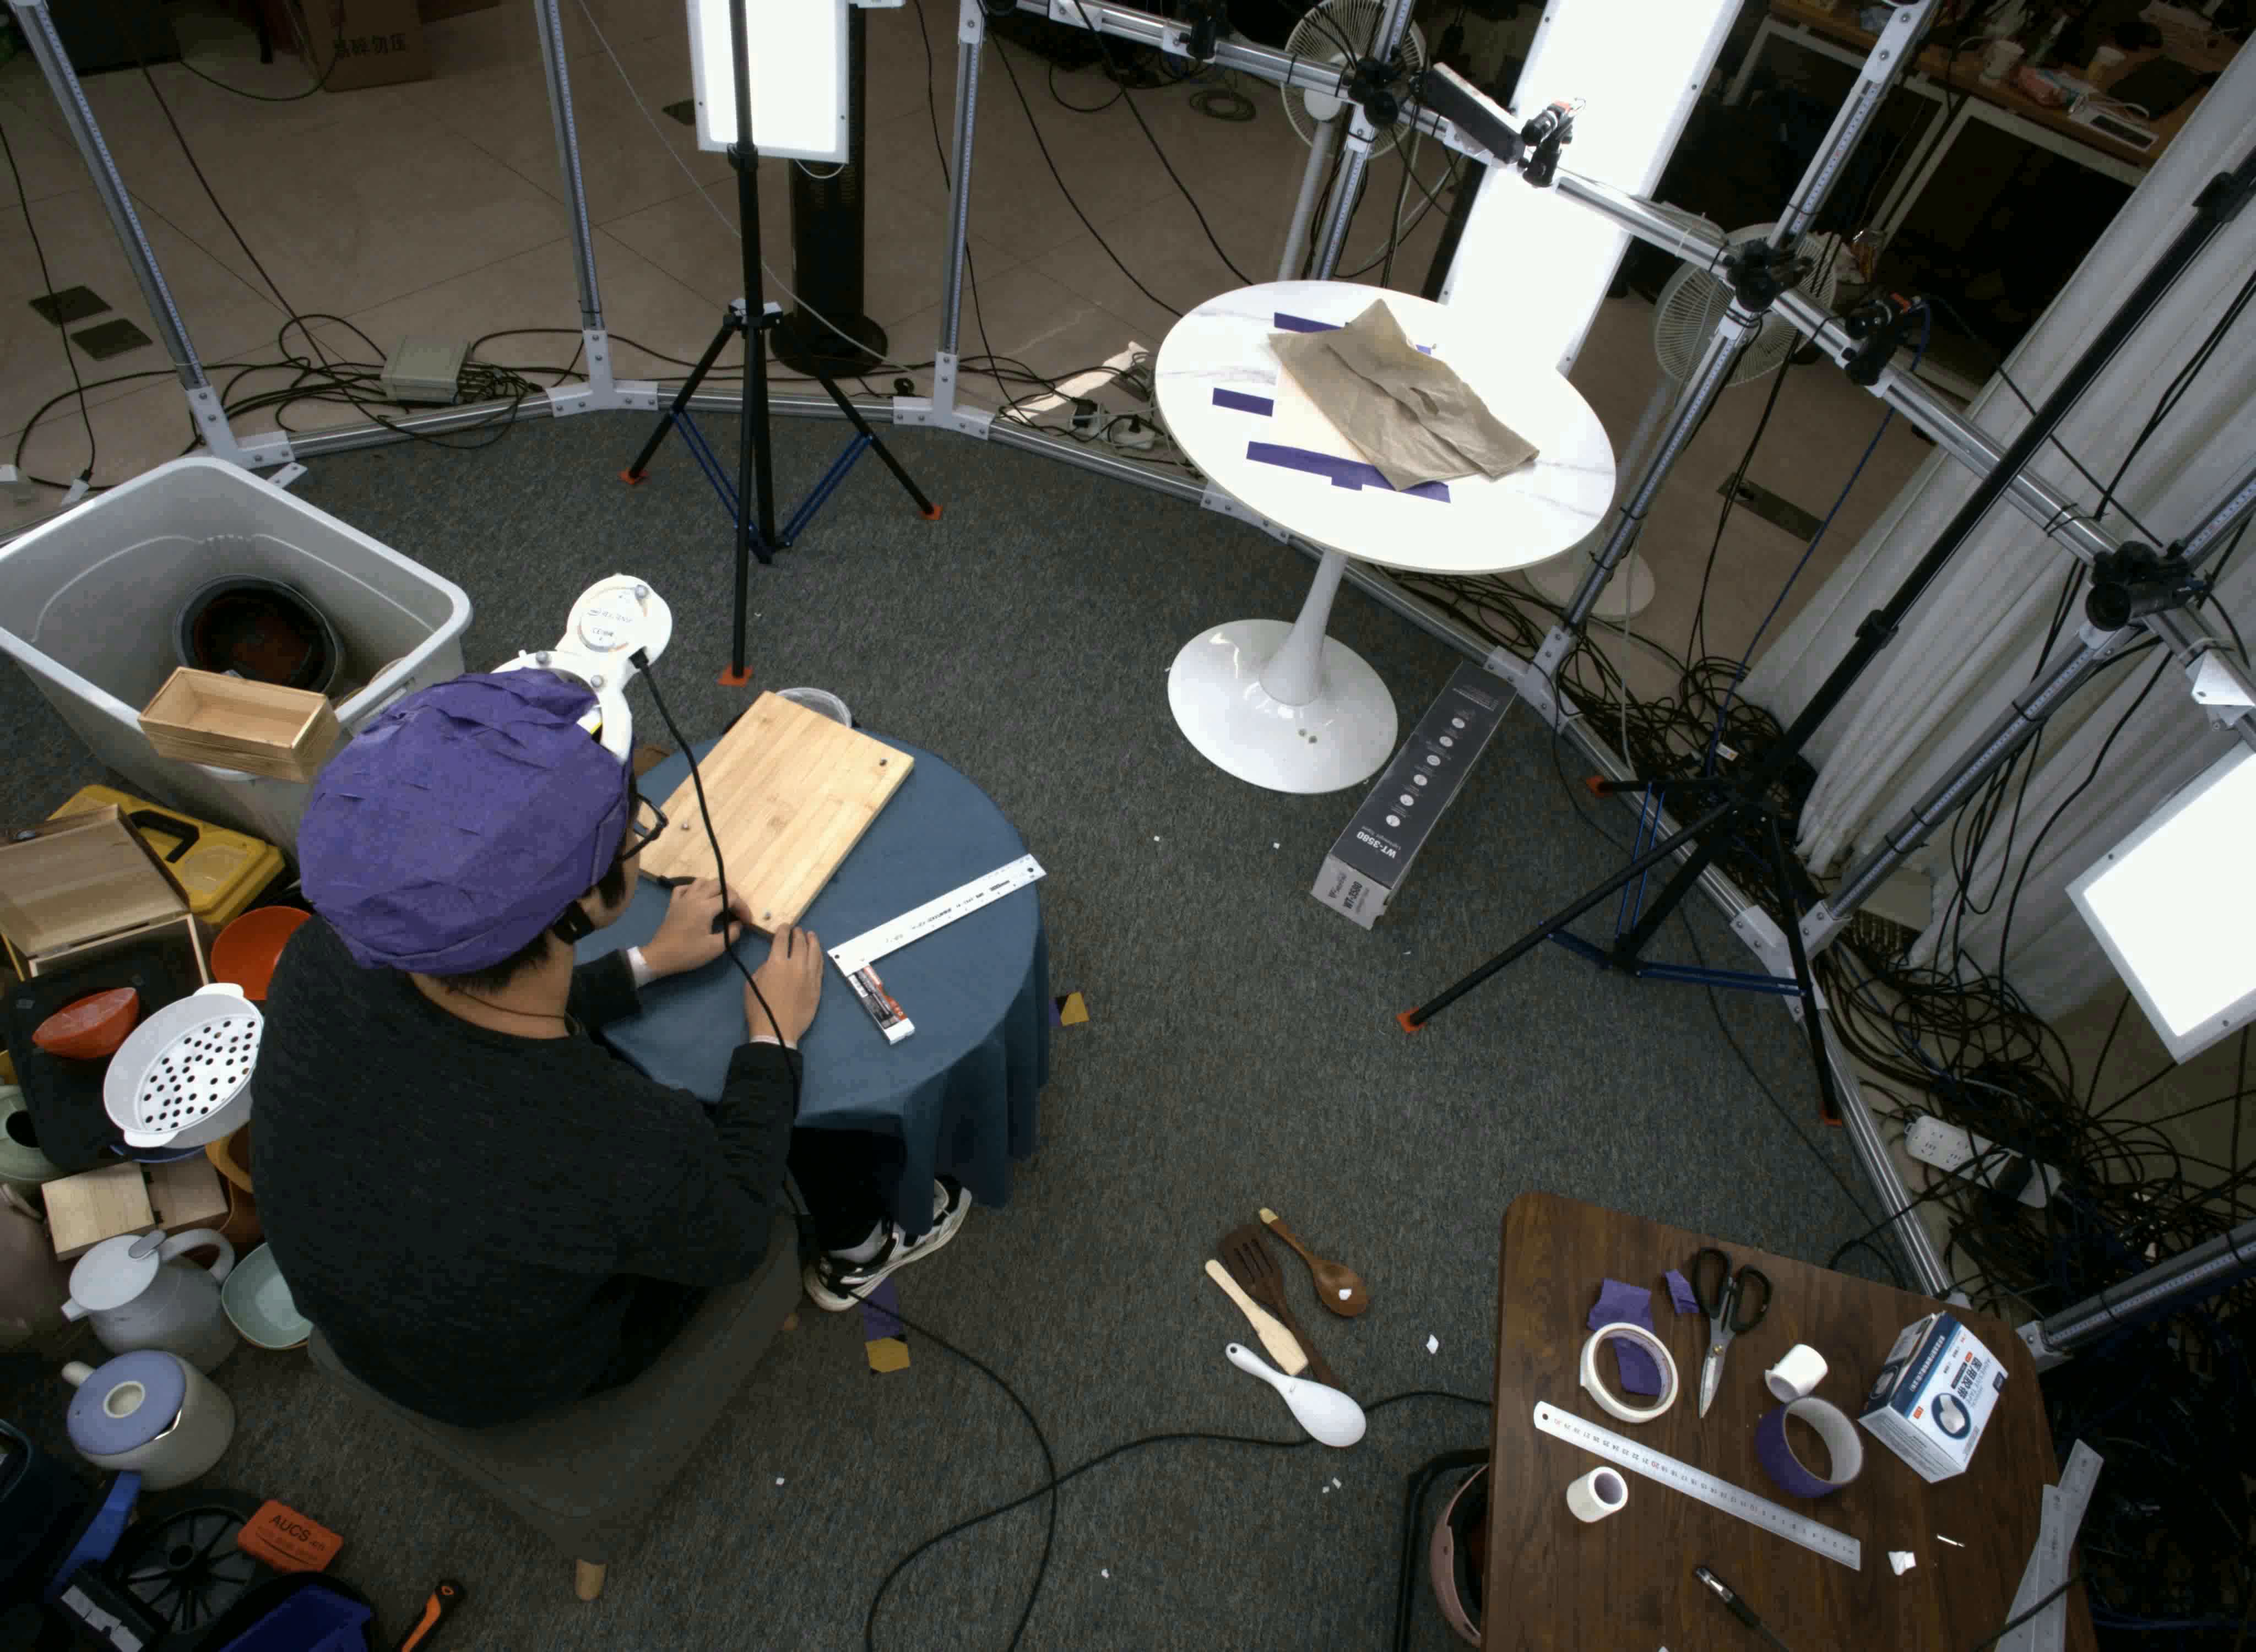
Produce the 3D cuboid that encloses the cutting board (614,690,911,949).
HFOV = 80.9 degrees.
[{"bbox_3d":[-0.474,-0.019,1.710,0.247,0.024,0.346,24,52,4],"label":"cutting board"}]

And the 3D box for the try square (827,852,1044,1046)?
[{"bbox_3d":[-0.212,0.147,1.660,0.314,0.016,0.149,-27,65,-31],"label":"try square"}]
